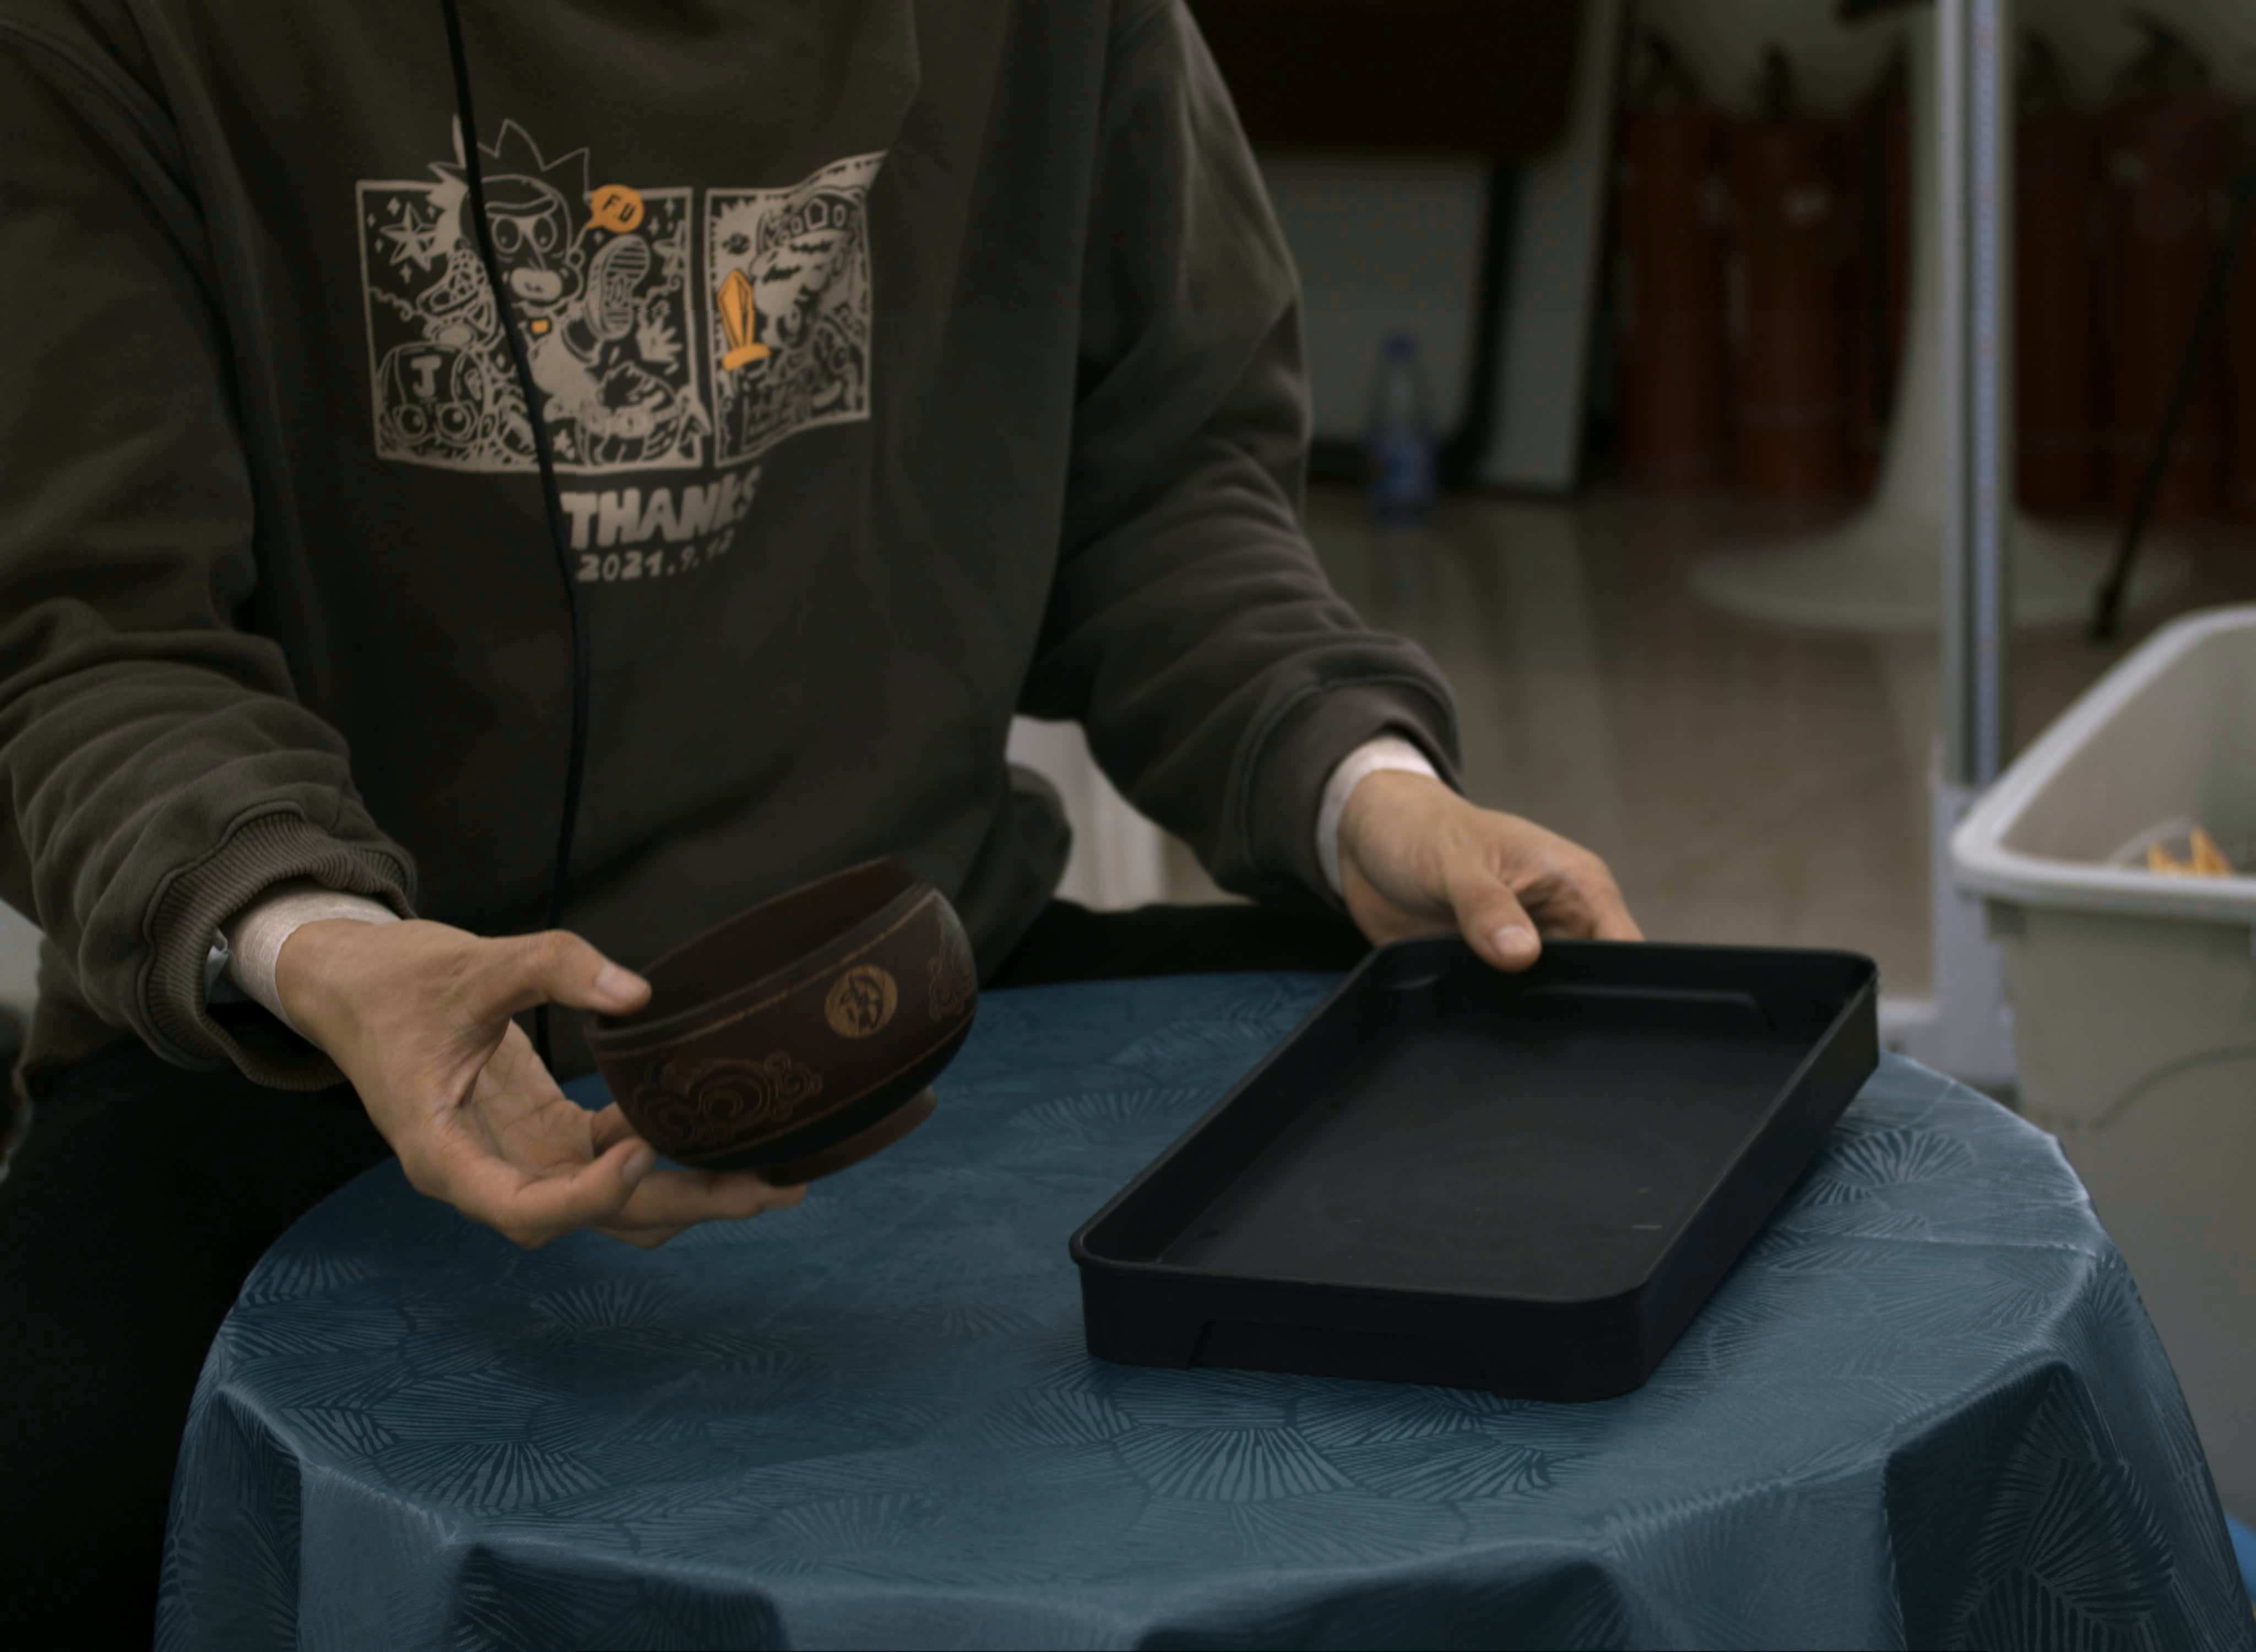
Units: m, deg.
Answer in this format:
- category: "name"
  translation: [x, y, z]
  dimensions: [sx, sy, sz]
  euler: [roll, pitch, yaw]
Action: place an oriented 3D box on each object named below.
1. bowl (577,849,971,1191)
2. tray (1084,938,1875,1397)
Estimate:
- category: "bowl"
  translation: [-0.098, 0.064, 1.606]
  dimensions: [0.117, 0.070, 0.118]
  euler: [-27, 10, 4]
- category: "tray"
  translation: [0.121, 0.102, 1.715]
  dimensions: [0.184, 0.037, 0.315]
  euler: [0, 17, 22]
